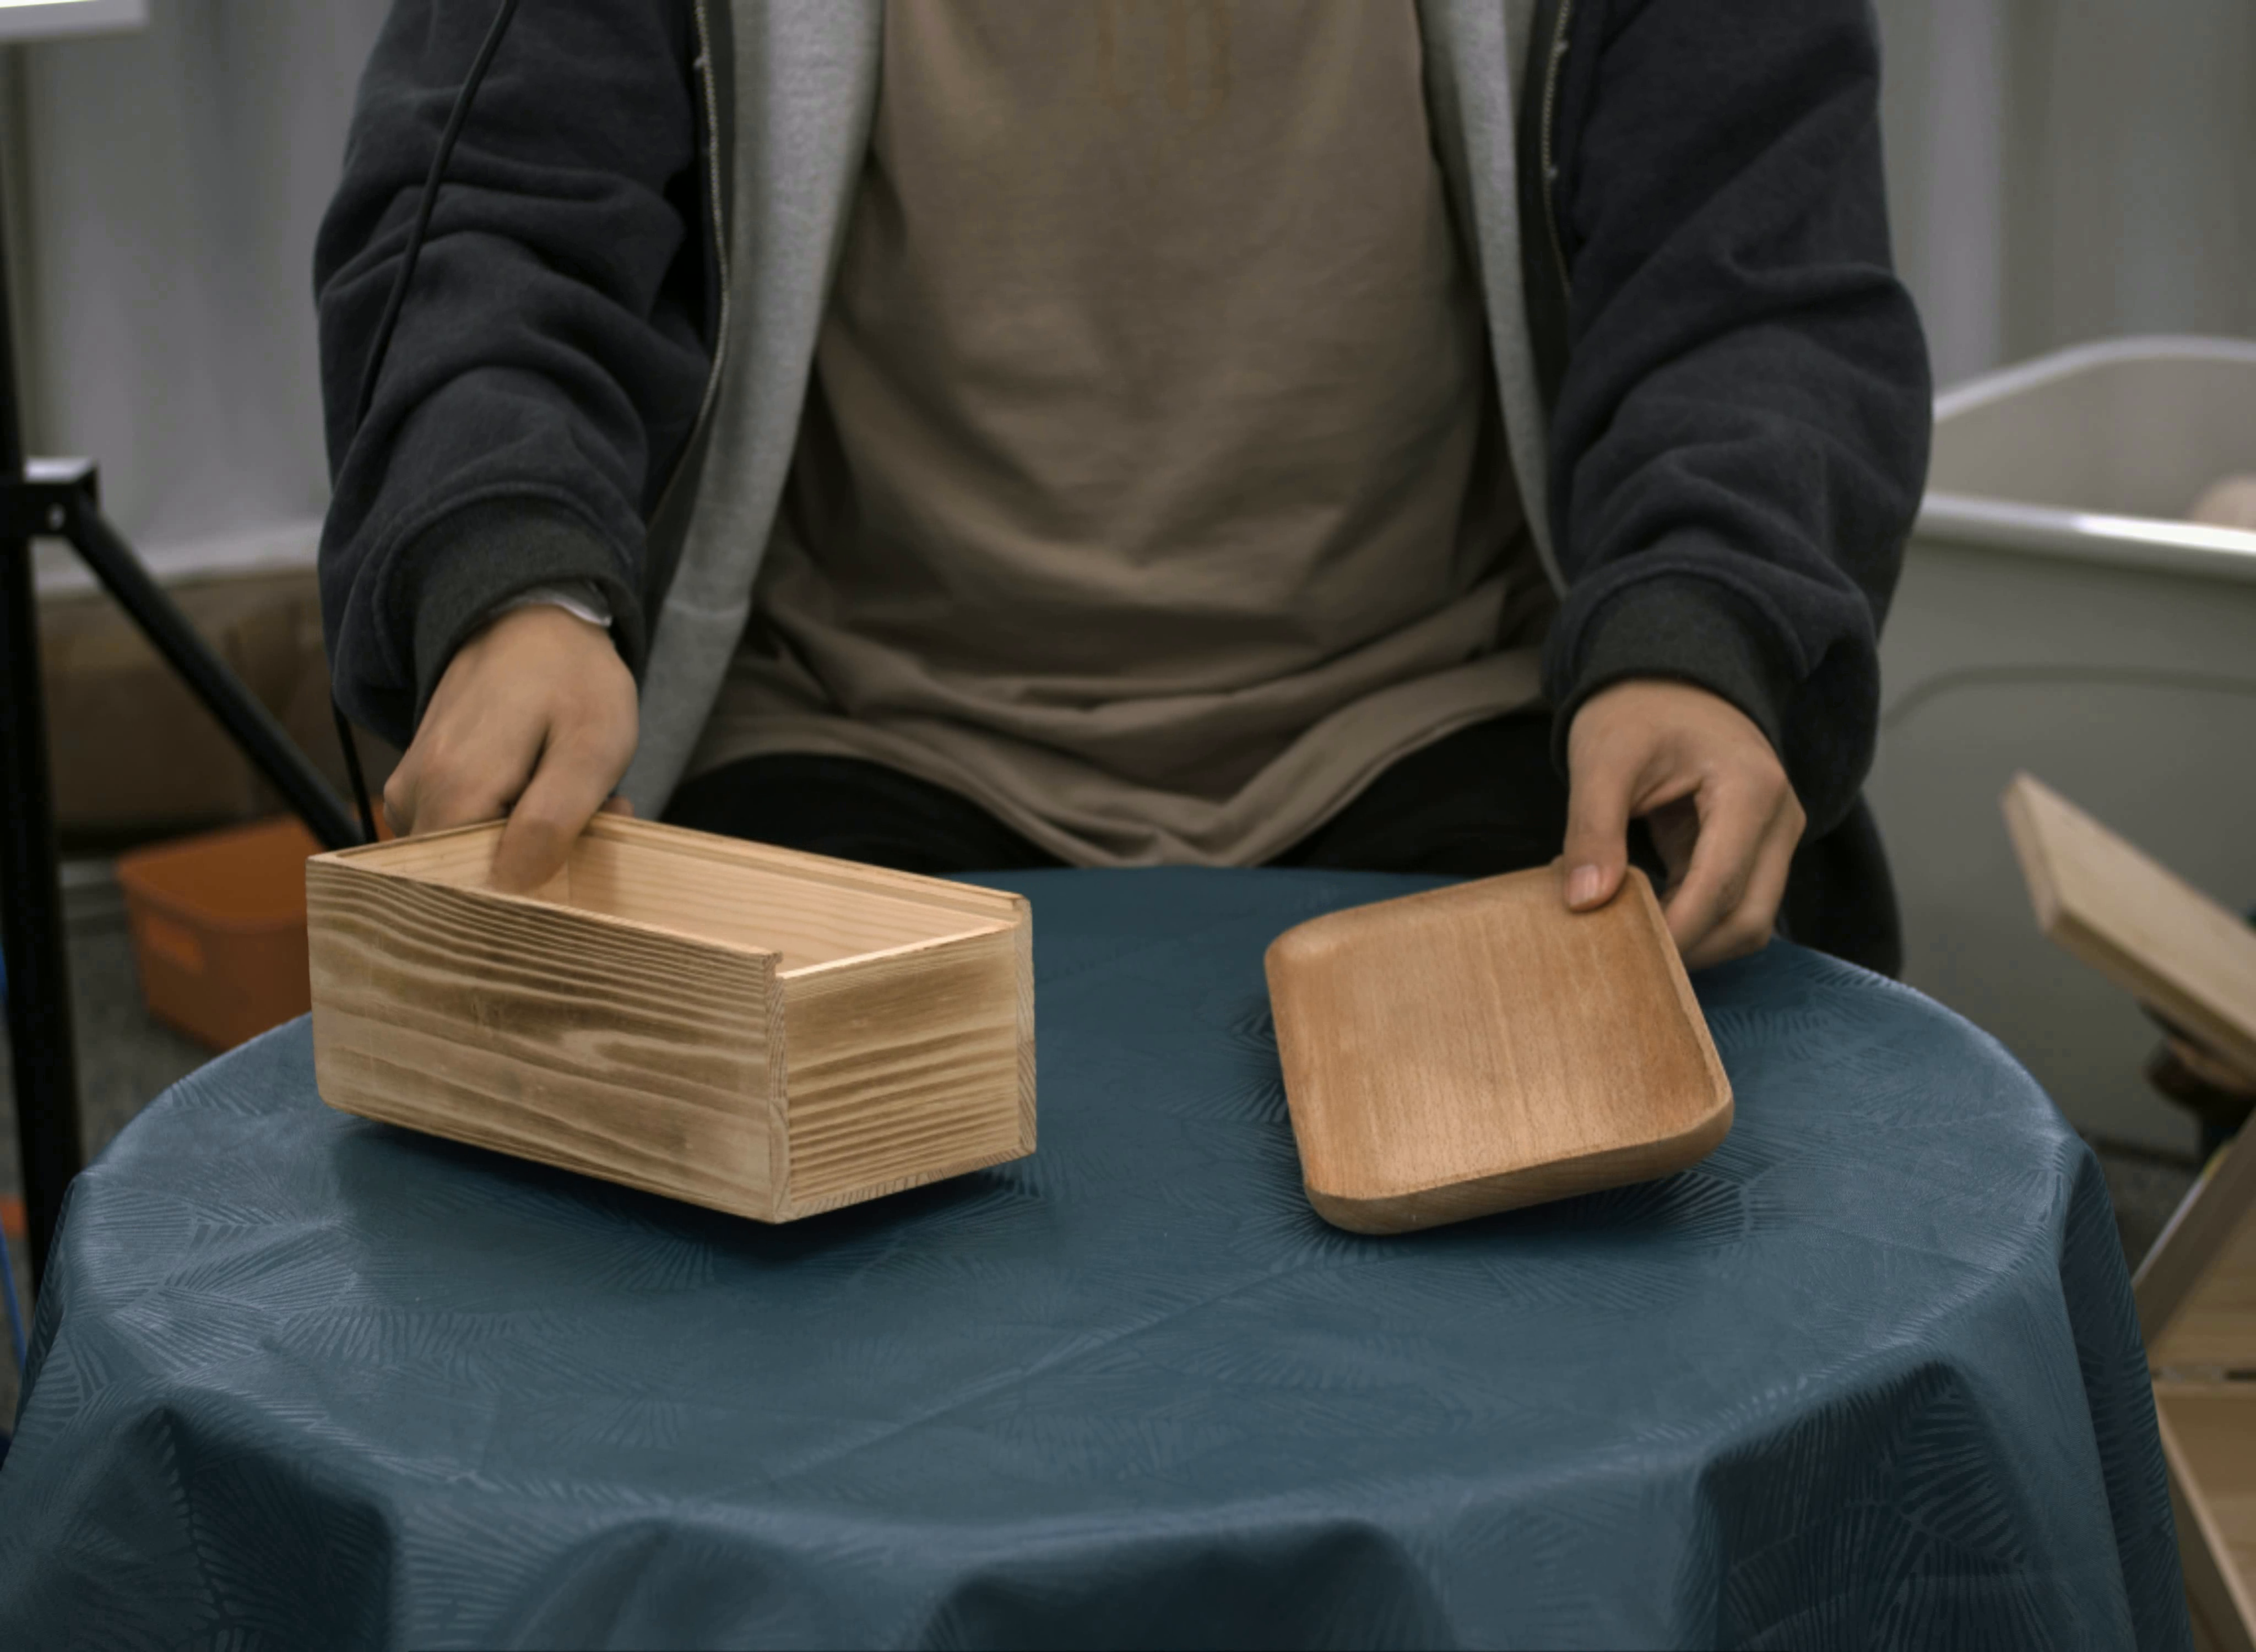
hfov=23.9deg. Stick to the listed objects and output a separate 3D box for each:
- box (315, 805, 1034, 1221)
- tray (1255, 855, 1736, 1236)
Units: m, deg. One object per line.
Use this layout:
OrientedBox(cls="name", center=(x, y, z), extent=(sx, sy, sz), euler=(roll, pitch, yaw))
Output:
OrientedBox(cls="box", center=(-0.139, 0.053, 1.607), extent=(0.105, 0.080, 0.216), euler=(-12, 15, -43))
OrientedBox(cls="tray", center=(0.108, 0.064, 1.616), extent=(0.130, 0.023, 0.252), euler=(-10, 18, 2))
